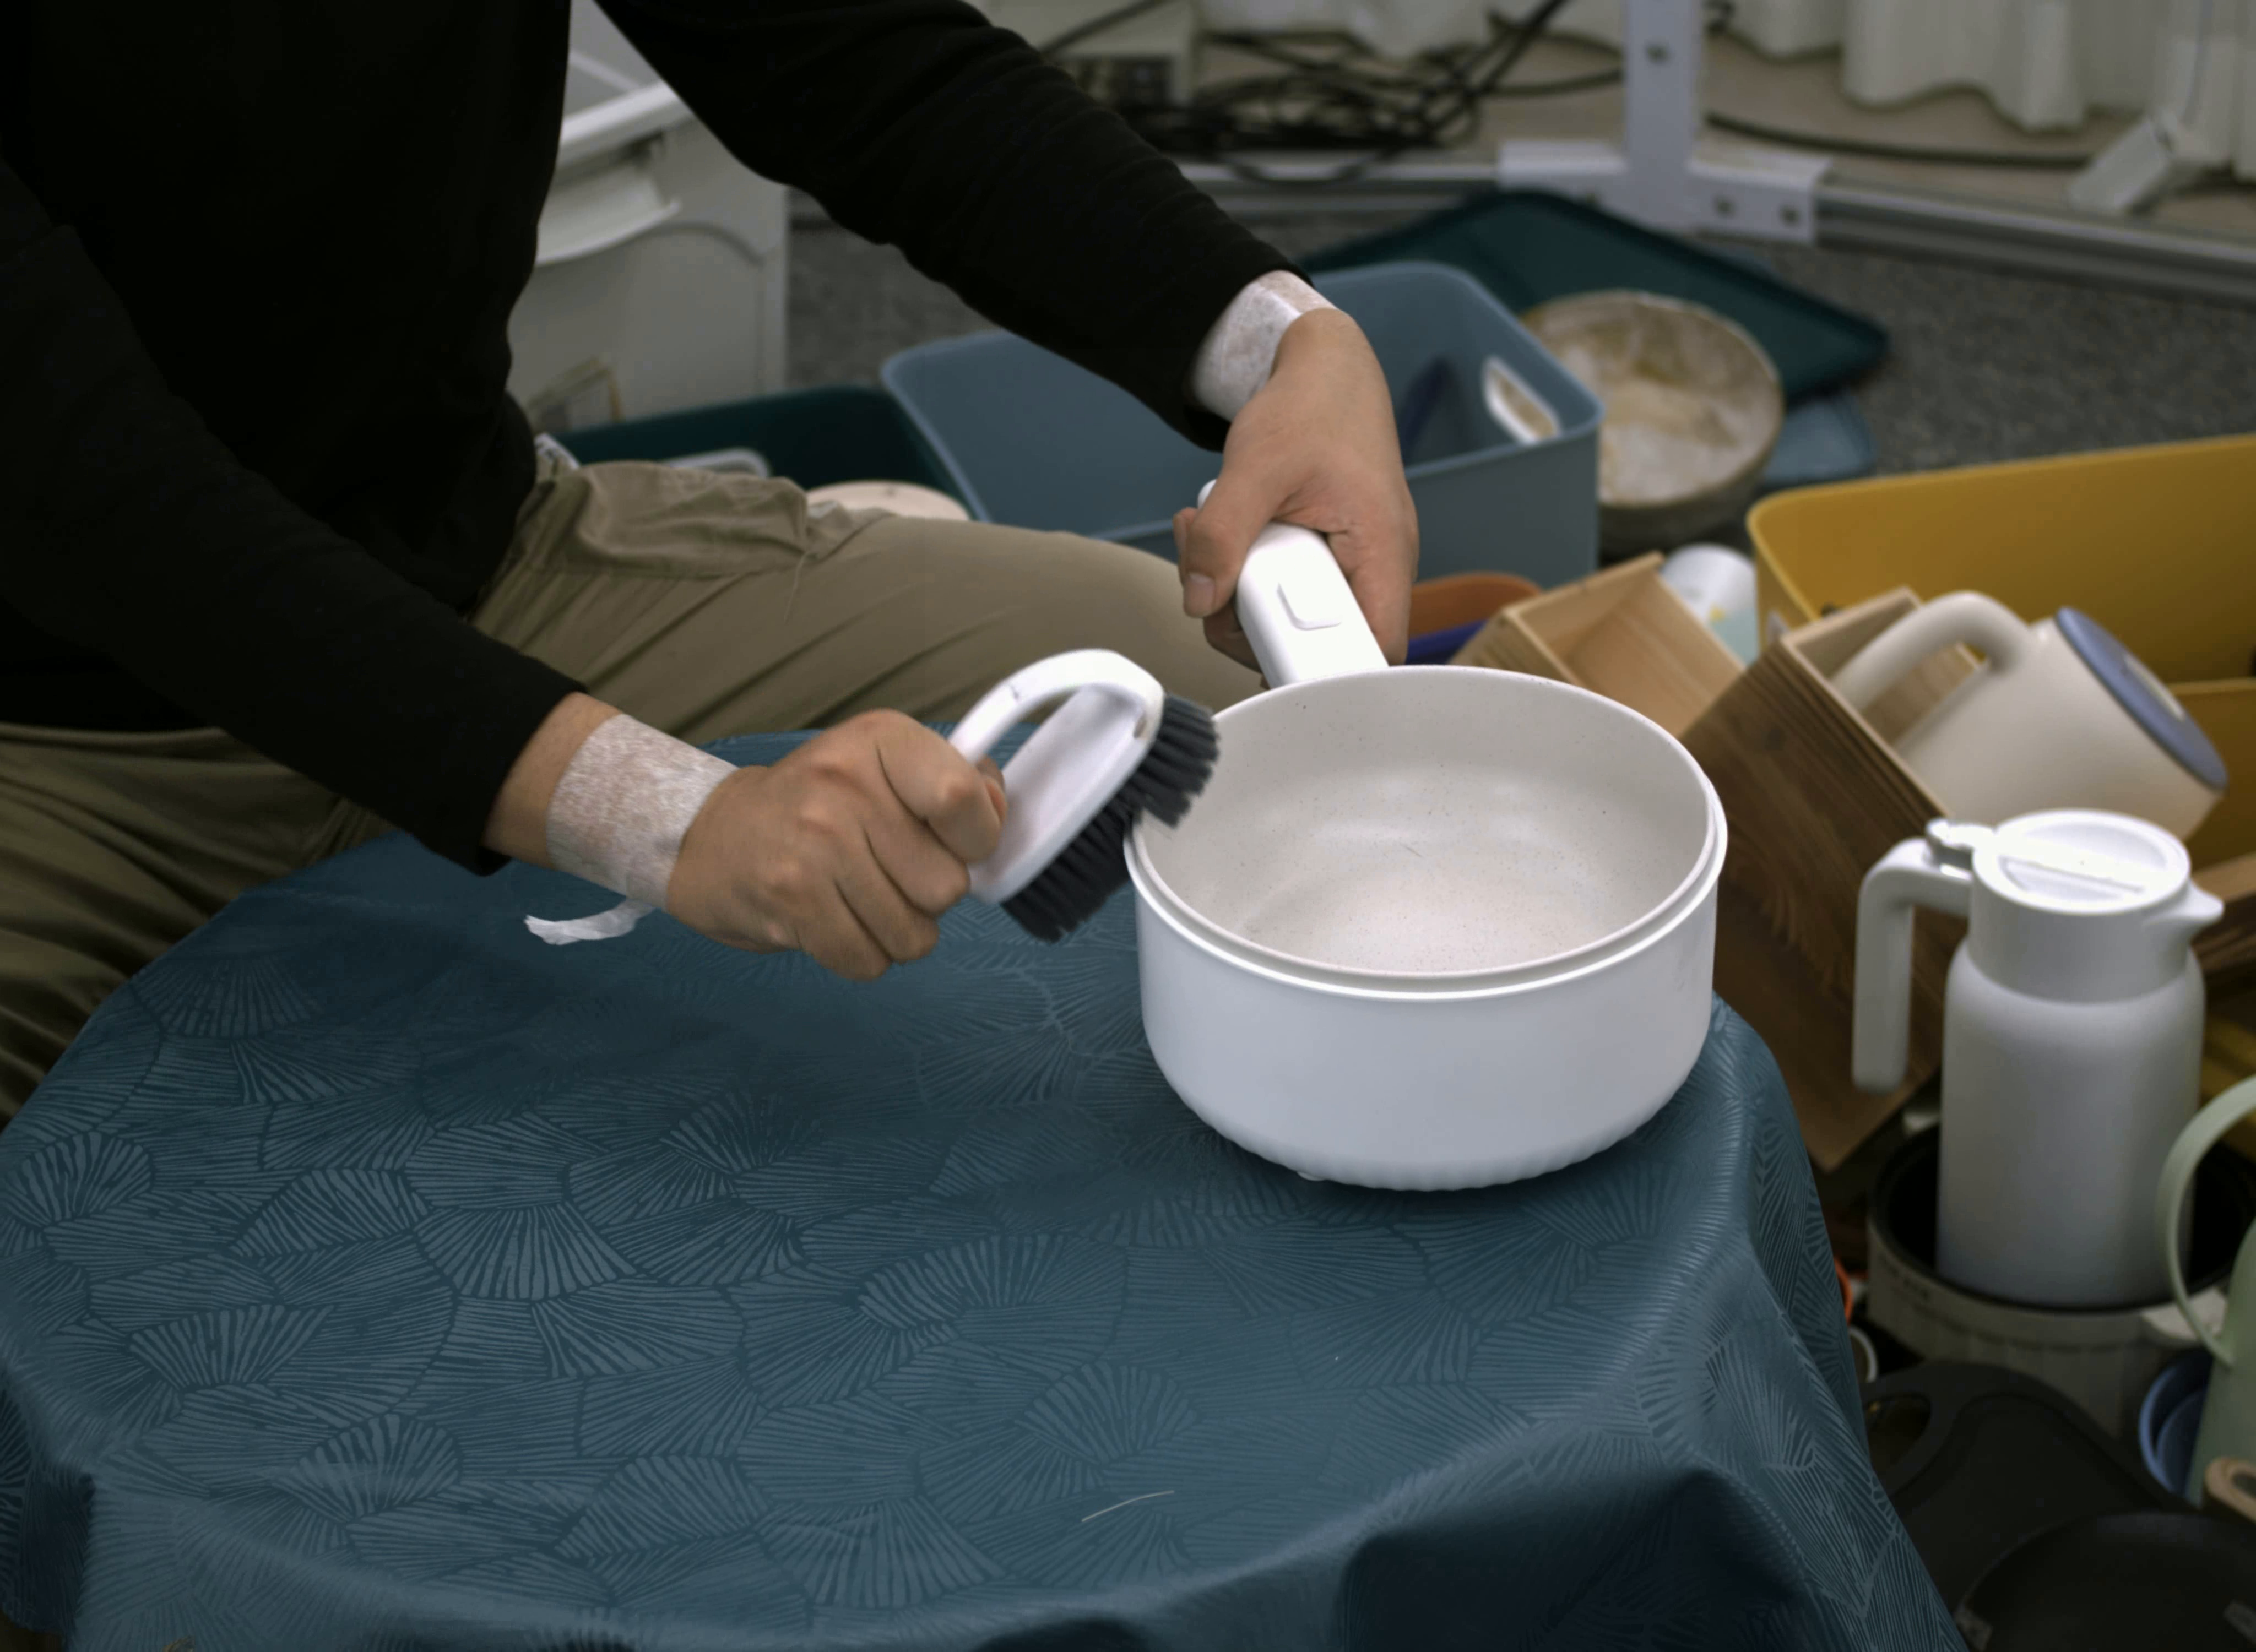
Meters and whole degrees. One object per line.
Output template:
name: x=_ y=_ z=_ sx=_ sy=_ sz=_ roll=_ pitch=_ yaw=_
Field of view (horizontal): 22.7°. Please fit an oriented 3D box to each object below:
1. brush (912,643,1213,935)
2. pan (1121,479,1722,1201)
brush: x=-0.029 y=-0.018 z=1.877 sx=0.072 sy=0.098 sz=0.051 roll=33 pitch=17 yaw=-32
pan: x=0.084 y=0.002 z=1.962 sx=0.201 sy=0.101 sz=0.359 roll=-10 pitch=32 yaw=-9
